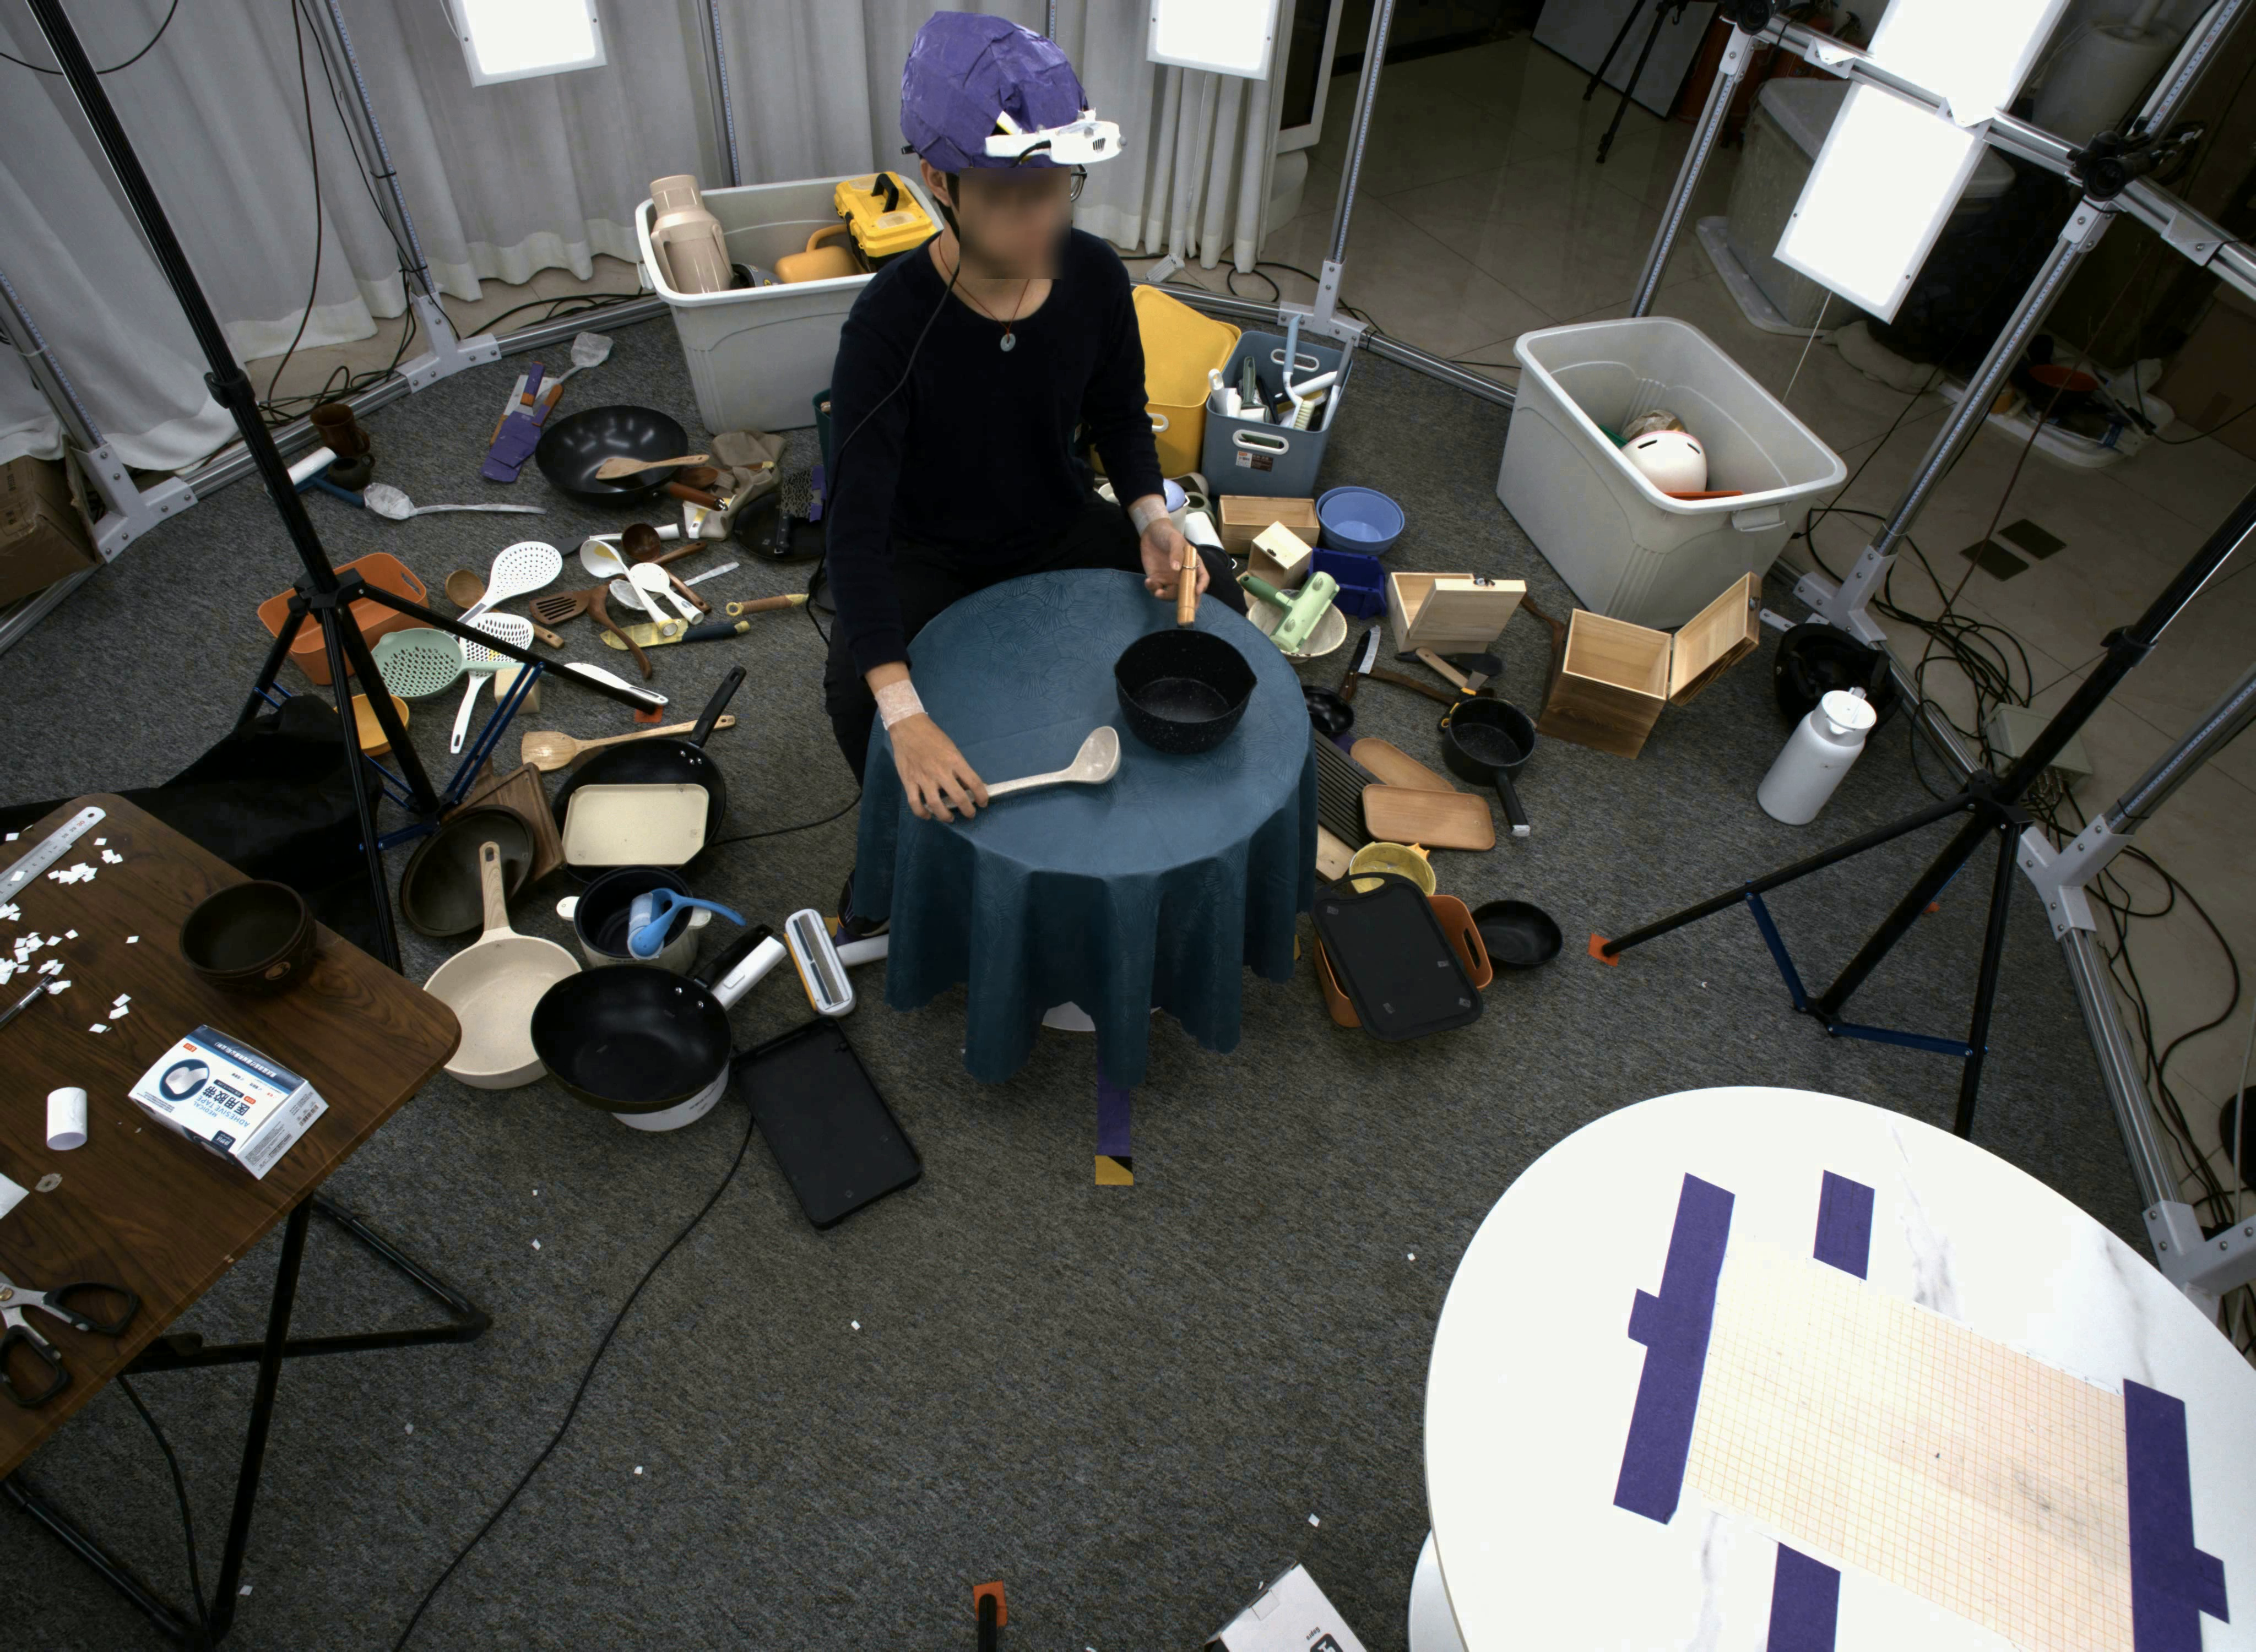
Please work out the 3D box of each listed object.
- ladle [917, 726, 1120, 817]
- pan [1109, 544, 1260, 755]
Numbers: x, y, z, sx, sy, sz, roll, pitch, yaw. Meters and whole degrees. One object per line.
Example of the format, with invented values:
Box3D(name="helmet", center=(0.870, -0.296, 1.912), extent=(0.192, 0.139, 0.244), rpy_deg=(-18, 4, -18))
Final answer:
Box3D(name="ladle", center=(-0.143, -0.070, 1.674), extent=(0.275, 0.068, 0.091), rpy_deg=(-13, 40, -16))
Box3D(name="pan", center=(0.078, -0.251, 1.821), extent=(0.207, 0.105, 0.351), rpy_deg=(3, 51, 0))
